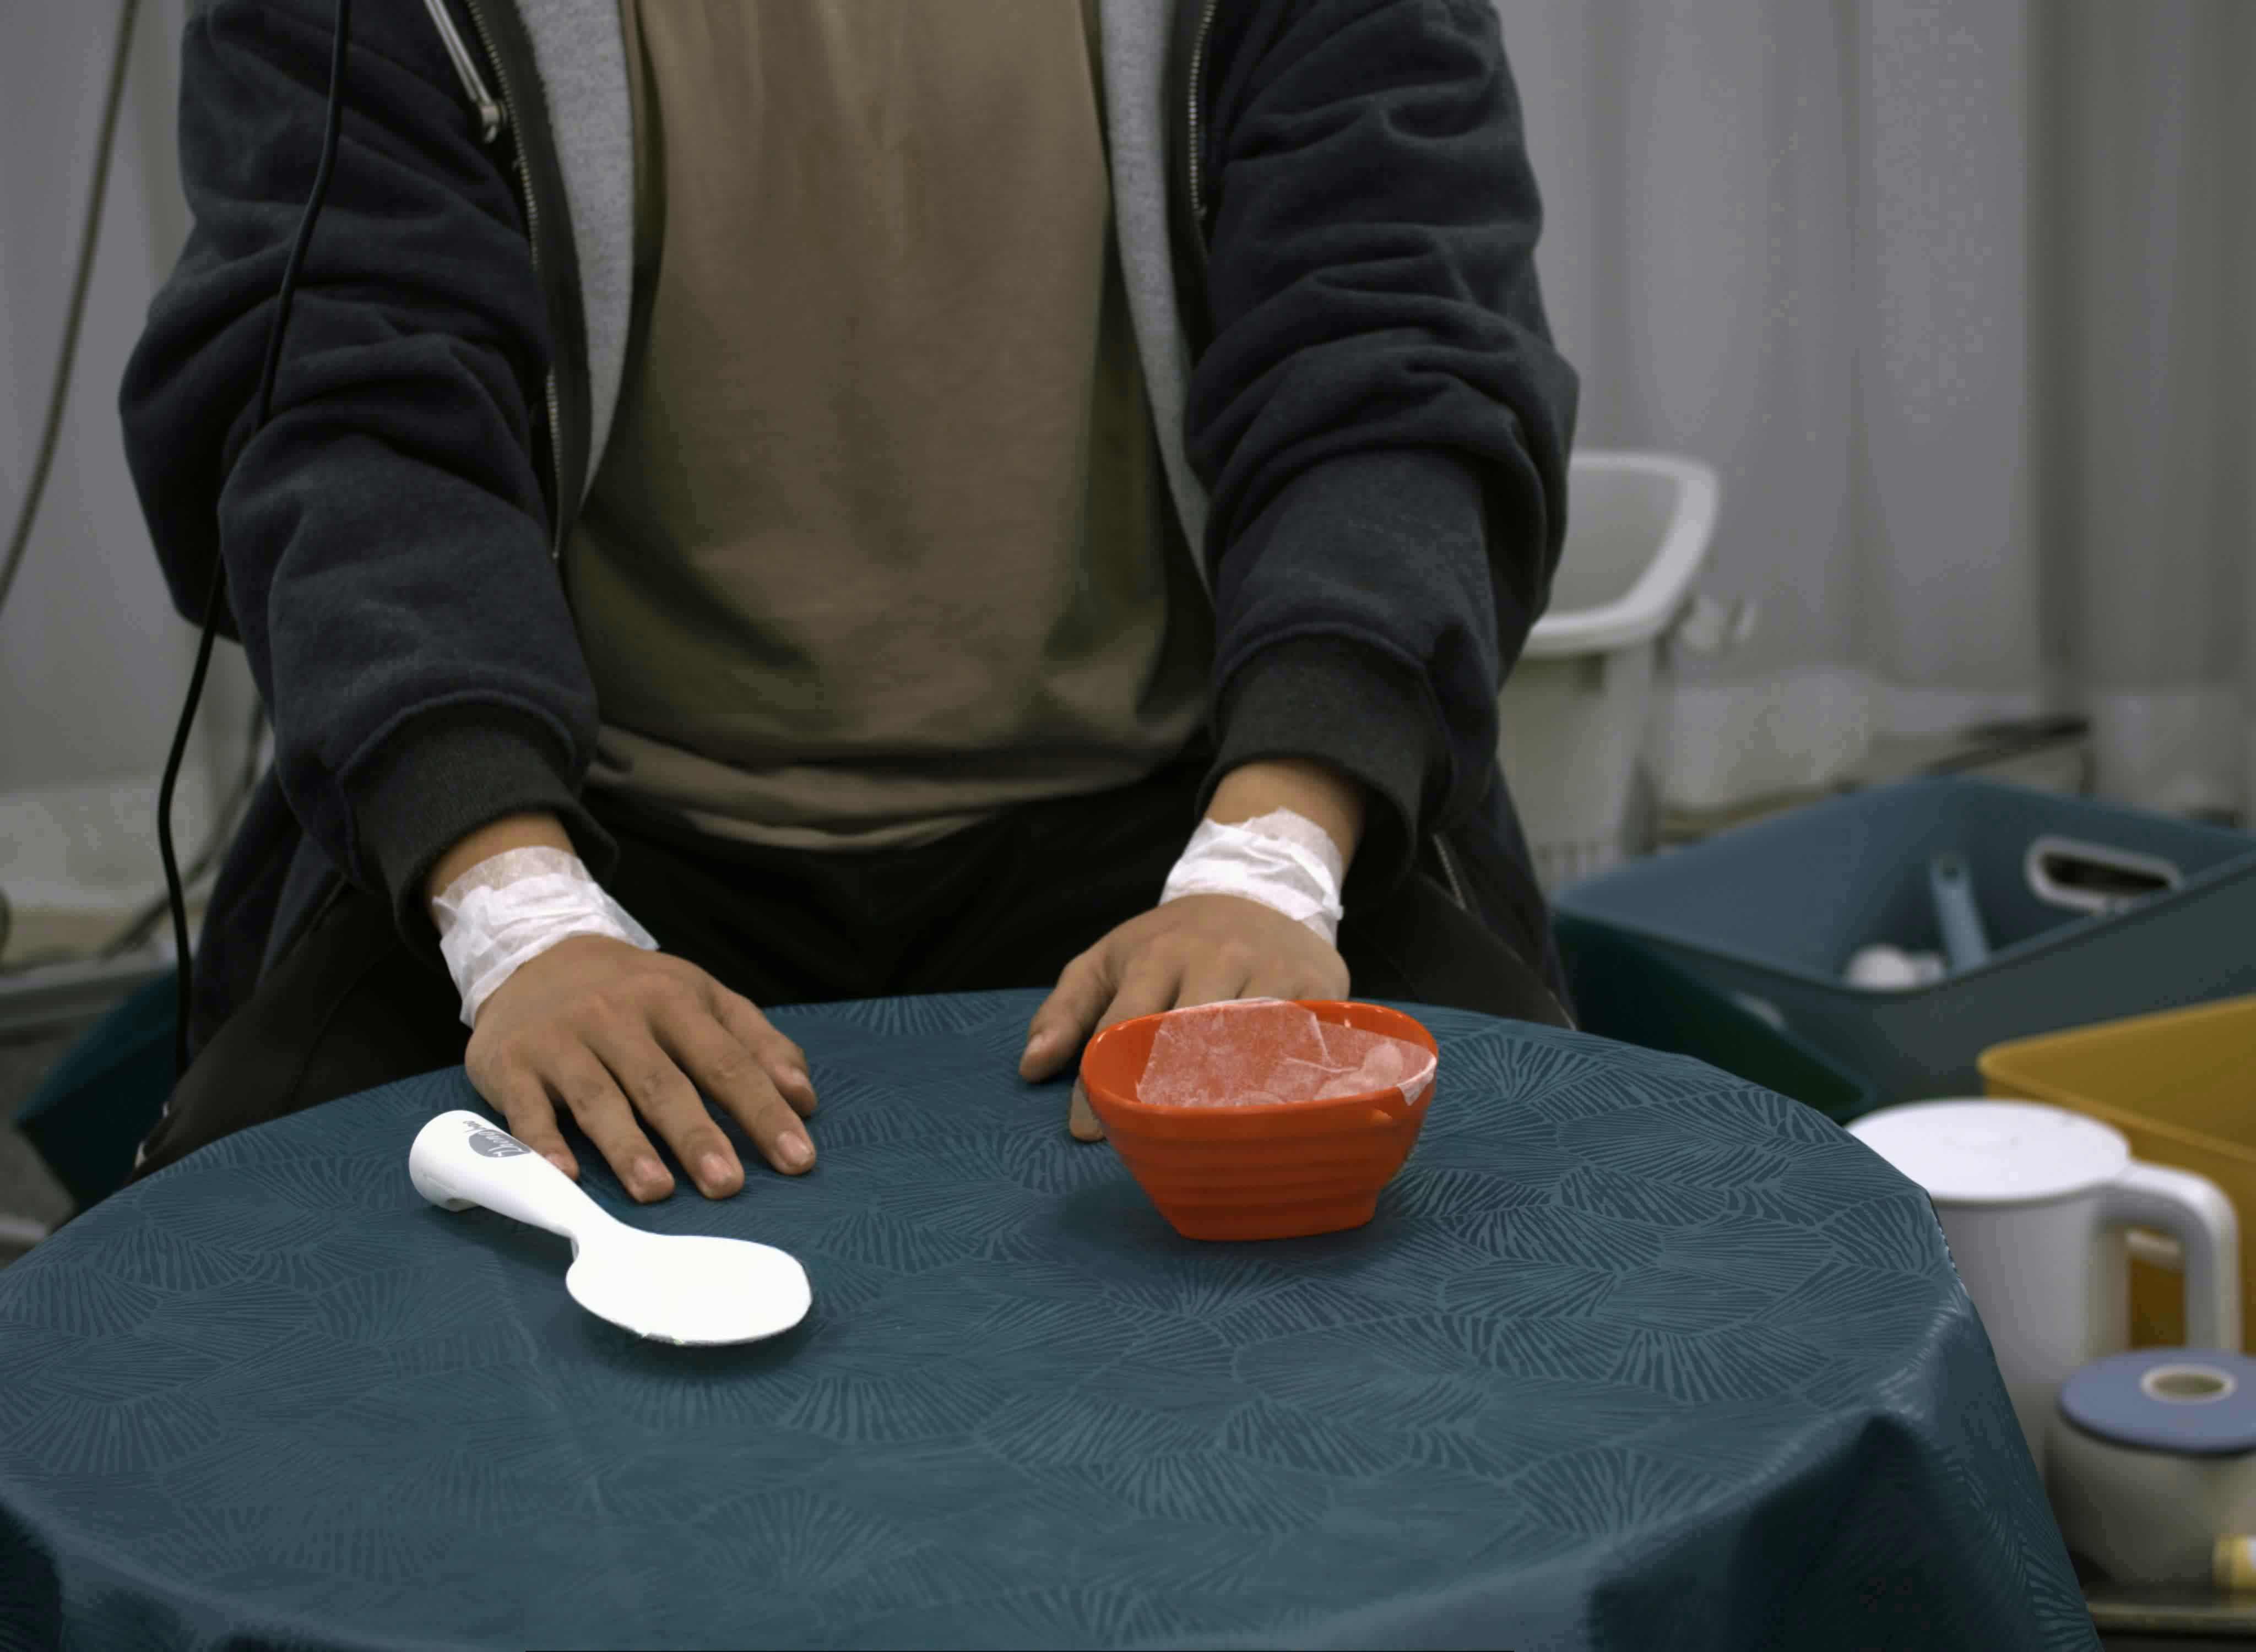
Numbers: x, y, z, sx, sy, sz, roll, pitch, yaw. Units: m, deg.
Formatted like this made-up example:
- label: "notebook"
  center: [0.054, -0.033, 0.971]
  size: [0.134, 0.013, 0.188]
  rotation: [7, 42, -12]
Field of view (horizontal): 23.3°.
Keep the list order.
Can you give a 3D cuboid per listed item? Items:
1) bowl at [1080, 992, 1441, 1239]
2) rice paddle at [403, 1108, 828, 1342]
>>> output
- label: "bowl"
  center: [0.041, 0.092, 1.690]
  size: [0.118, 0.051, 0.120]
  rotation: [-3, 16, 0]
- label: "rice paddle"
  center: [-0.159, 0.123, 1.658]
  size: [0.068, 0.029, 0.207]
  rotation: [-14, 18, -32]
